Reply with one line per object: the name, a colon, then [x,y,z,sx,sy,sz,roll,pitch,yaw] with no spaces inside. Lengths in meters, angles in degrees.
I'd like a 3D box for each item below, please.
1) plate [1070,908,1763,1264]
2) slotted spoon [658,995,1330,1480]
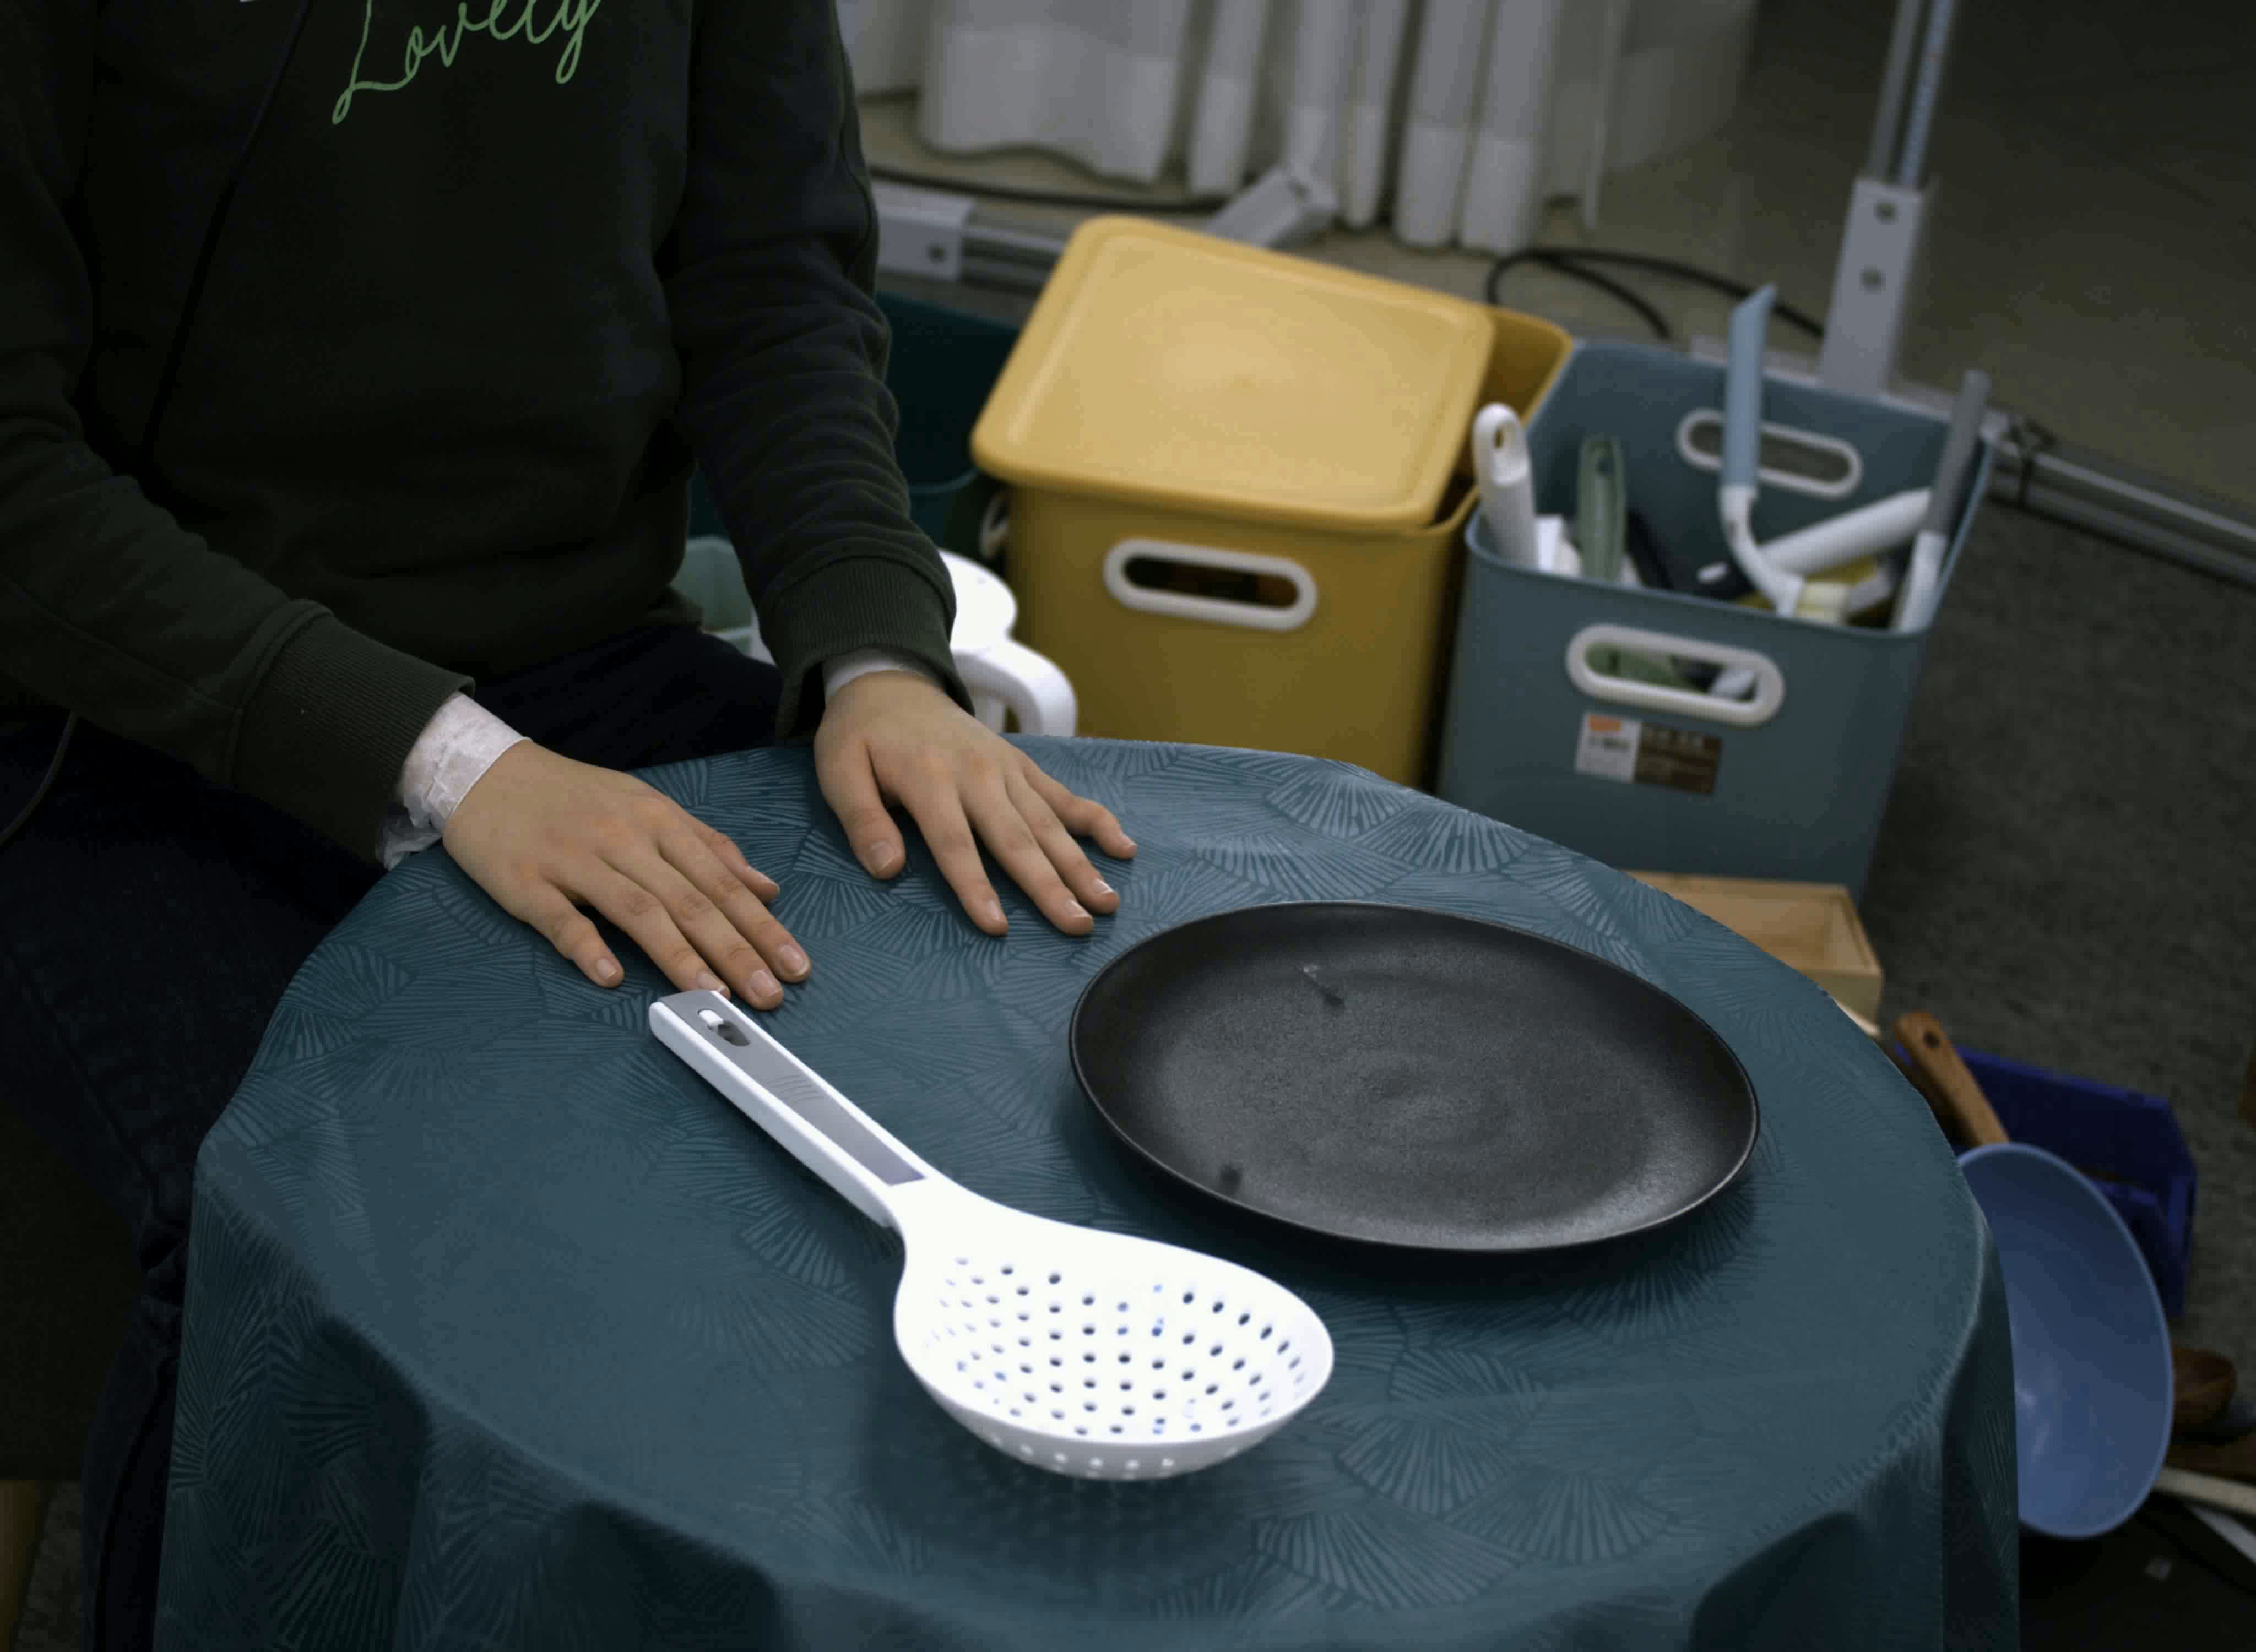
plate: [0.099,0.094,1.855,0.243,0.023,0.246,5,27,-3]
slotted spoon: [-0.063,0.127,1.729,0.135,0.045,0.353,-8,29,-31]
